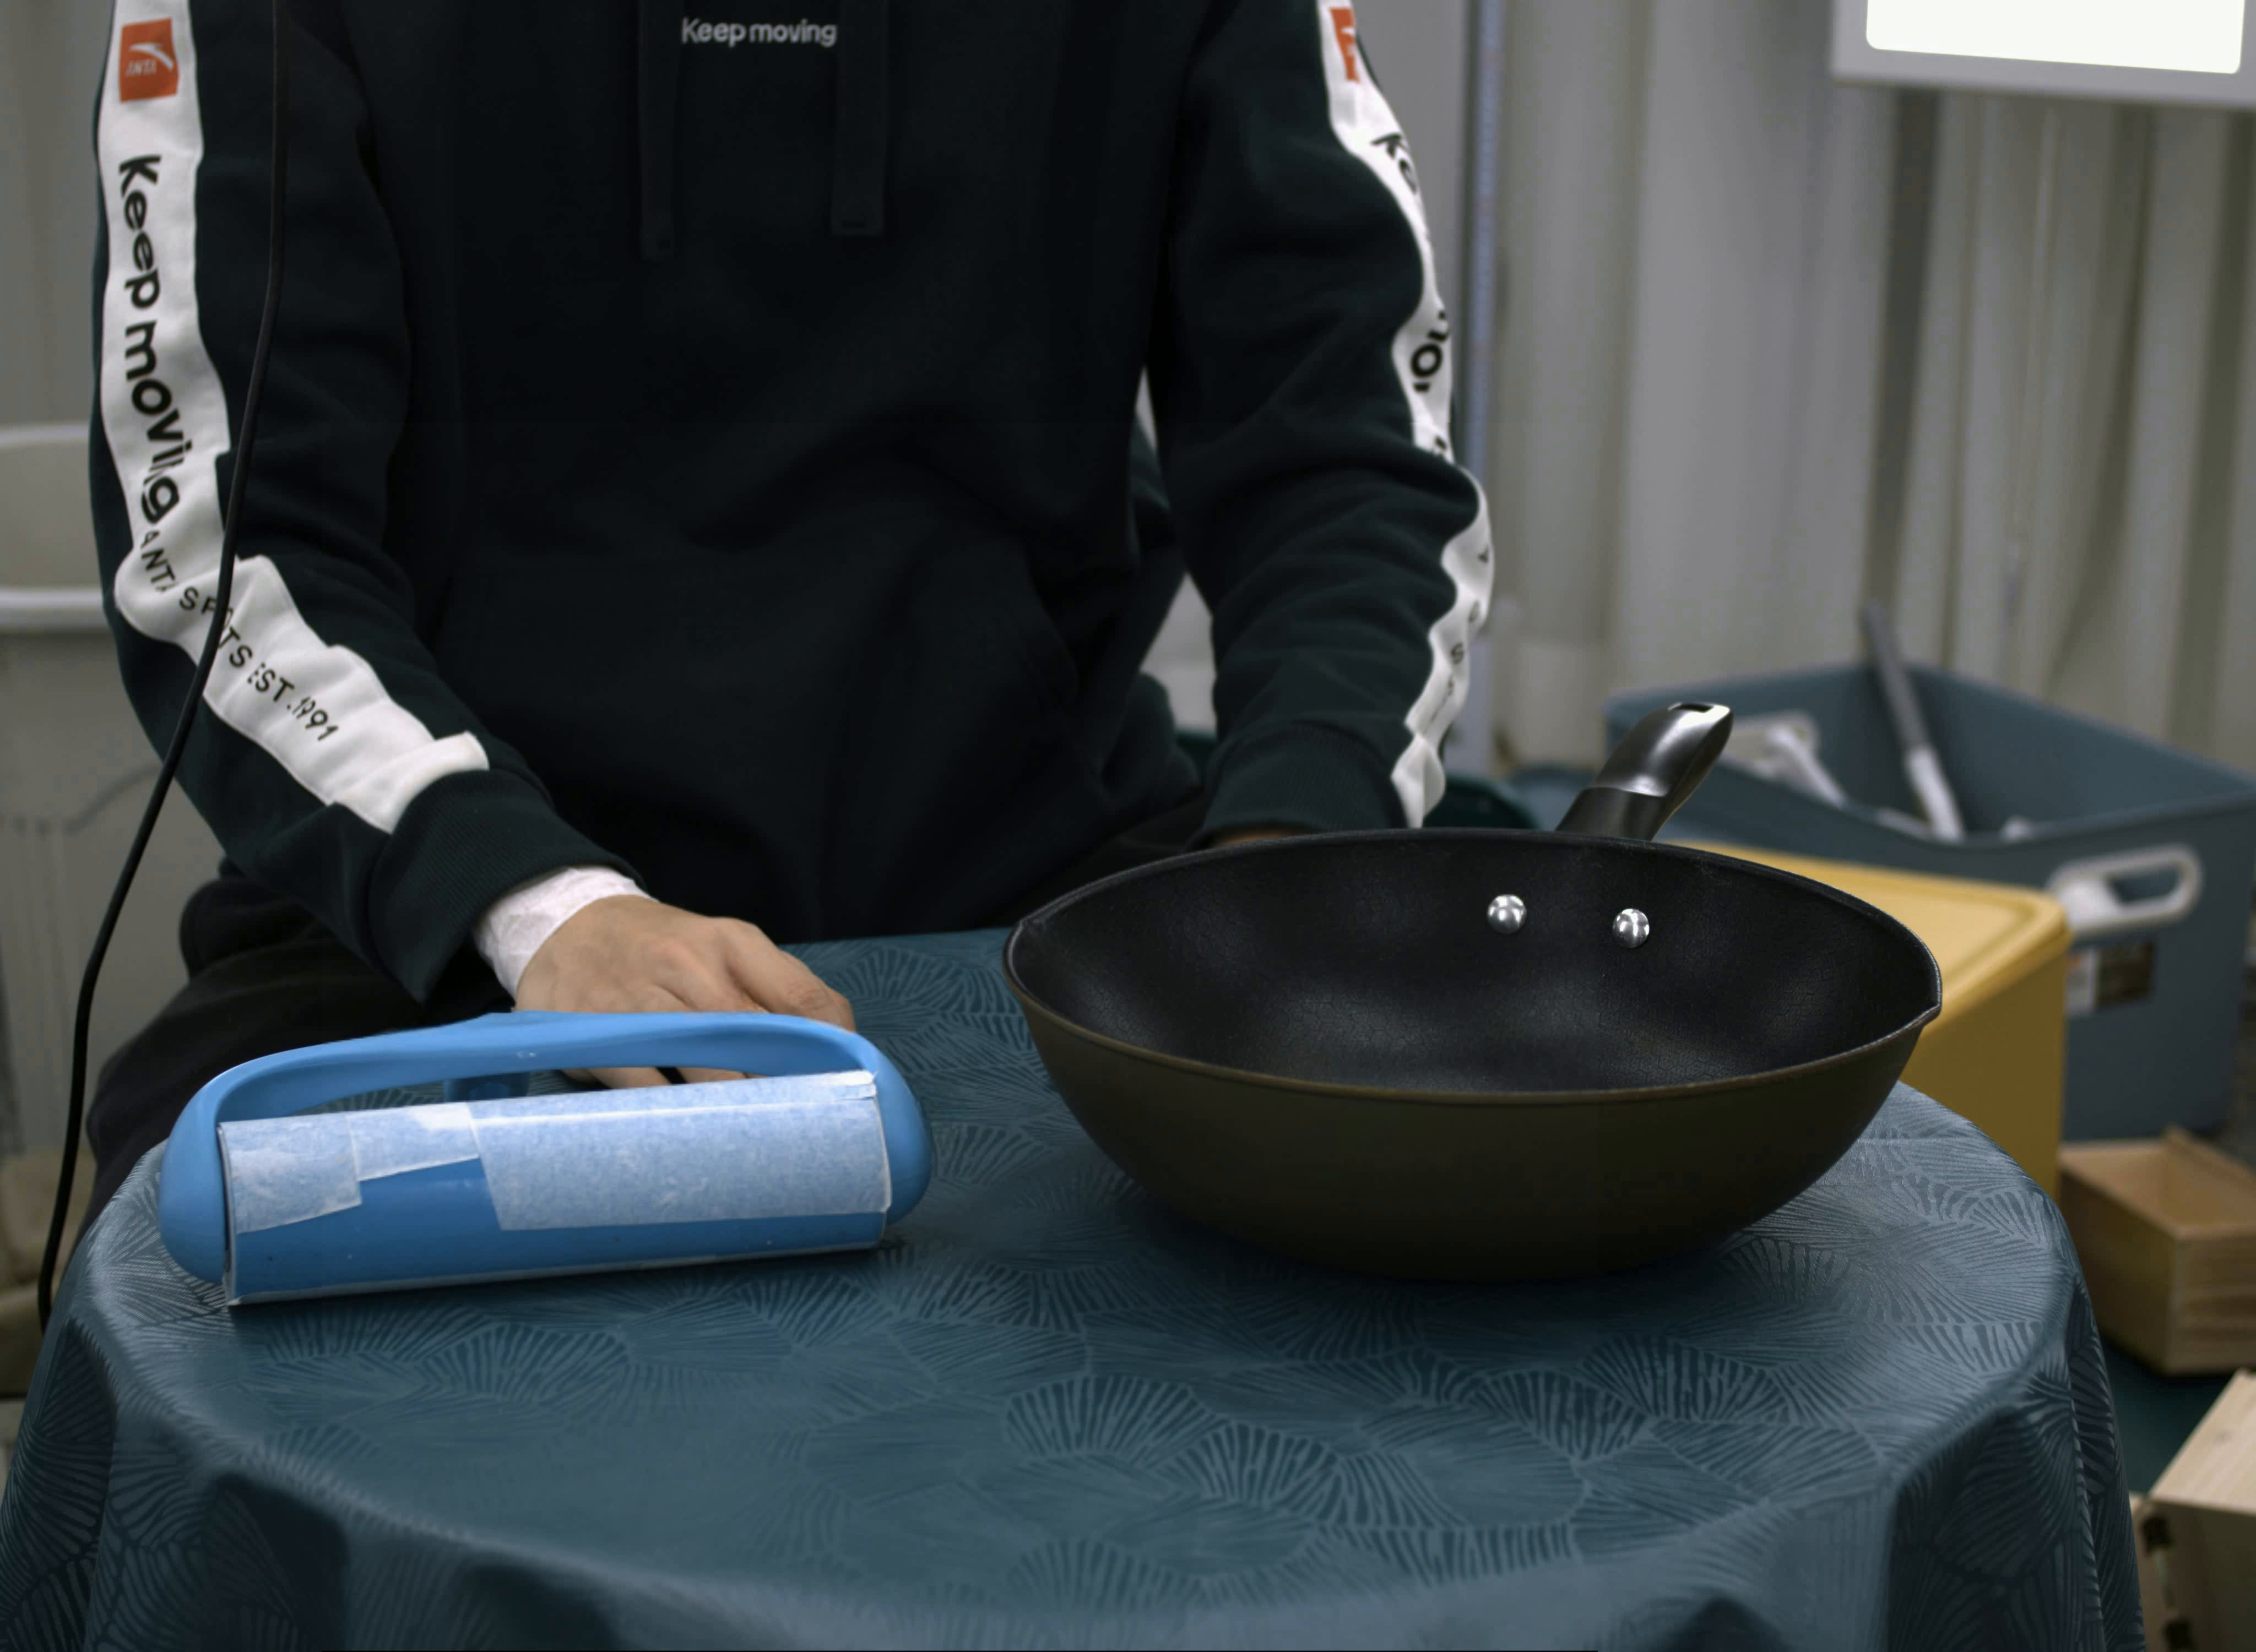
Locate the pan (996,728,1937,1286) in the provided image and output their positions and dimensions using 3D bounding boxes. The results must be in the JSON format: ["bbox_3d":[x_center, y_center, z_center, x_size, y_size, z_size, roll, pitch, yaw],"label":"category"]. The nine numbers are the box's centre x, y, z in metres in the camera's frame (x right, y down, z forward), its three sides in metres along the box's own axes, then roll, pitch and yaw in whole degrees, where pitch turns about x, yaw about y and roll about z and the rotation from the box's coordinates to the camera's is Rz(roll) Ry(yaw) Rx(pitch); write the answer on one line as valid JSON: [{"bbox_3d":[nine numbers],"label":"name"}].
[{"bbox_3d":[0.130,0.054,1.682,0.285,0.087,0.463,6,16,18],"label":"pan"}]

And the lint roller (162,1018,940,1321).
[{"bbox_3d":[-0.185,0.090,1.590,0.229,0.068,0.178,-7,18,-18],"label":"lint roller"}]
